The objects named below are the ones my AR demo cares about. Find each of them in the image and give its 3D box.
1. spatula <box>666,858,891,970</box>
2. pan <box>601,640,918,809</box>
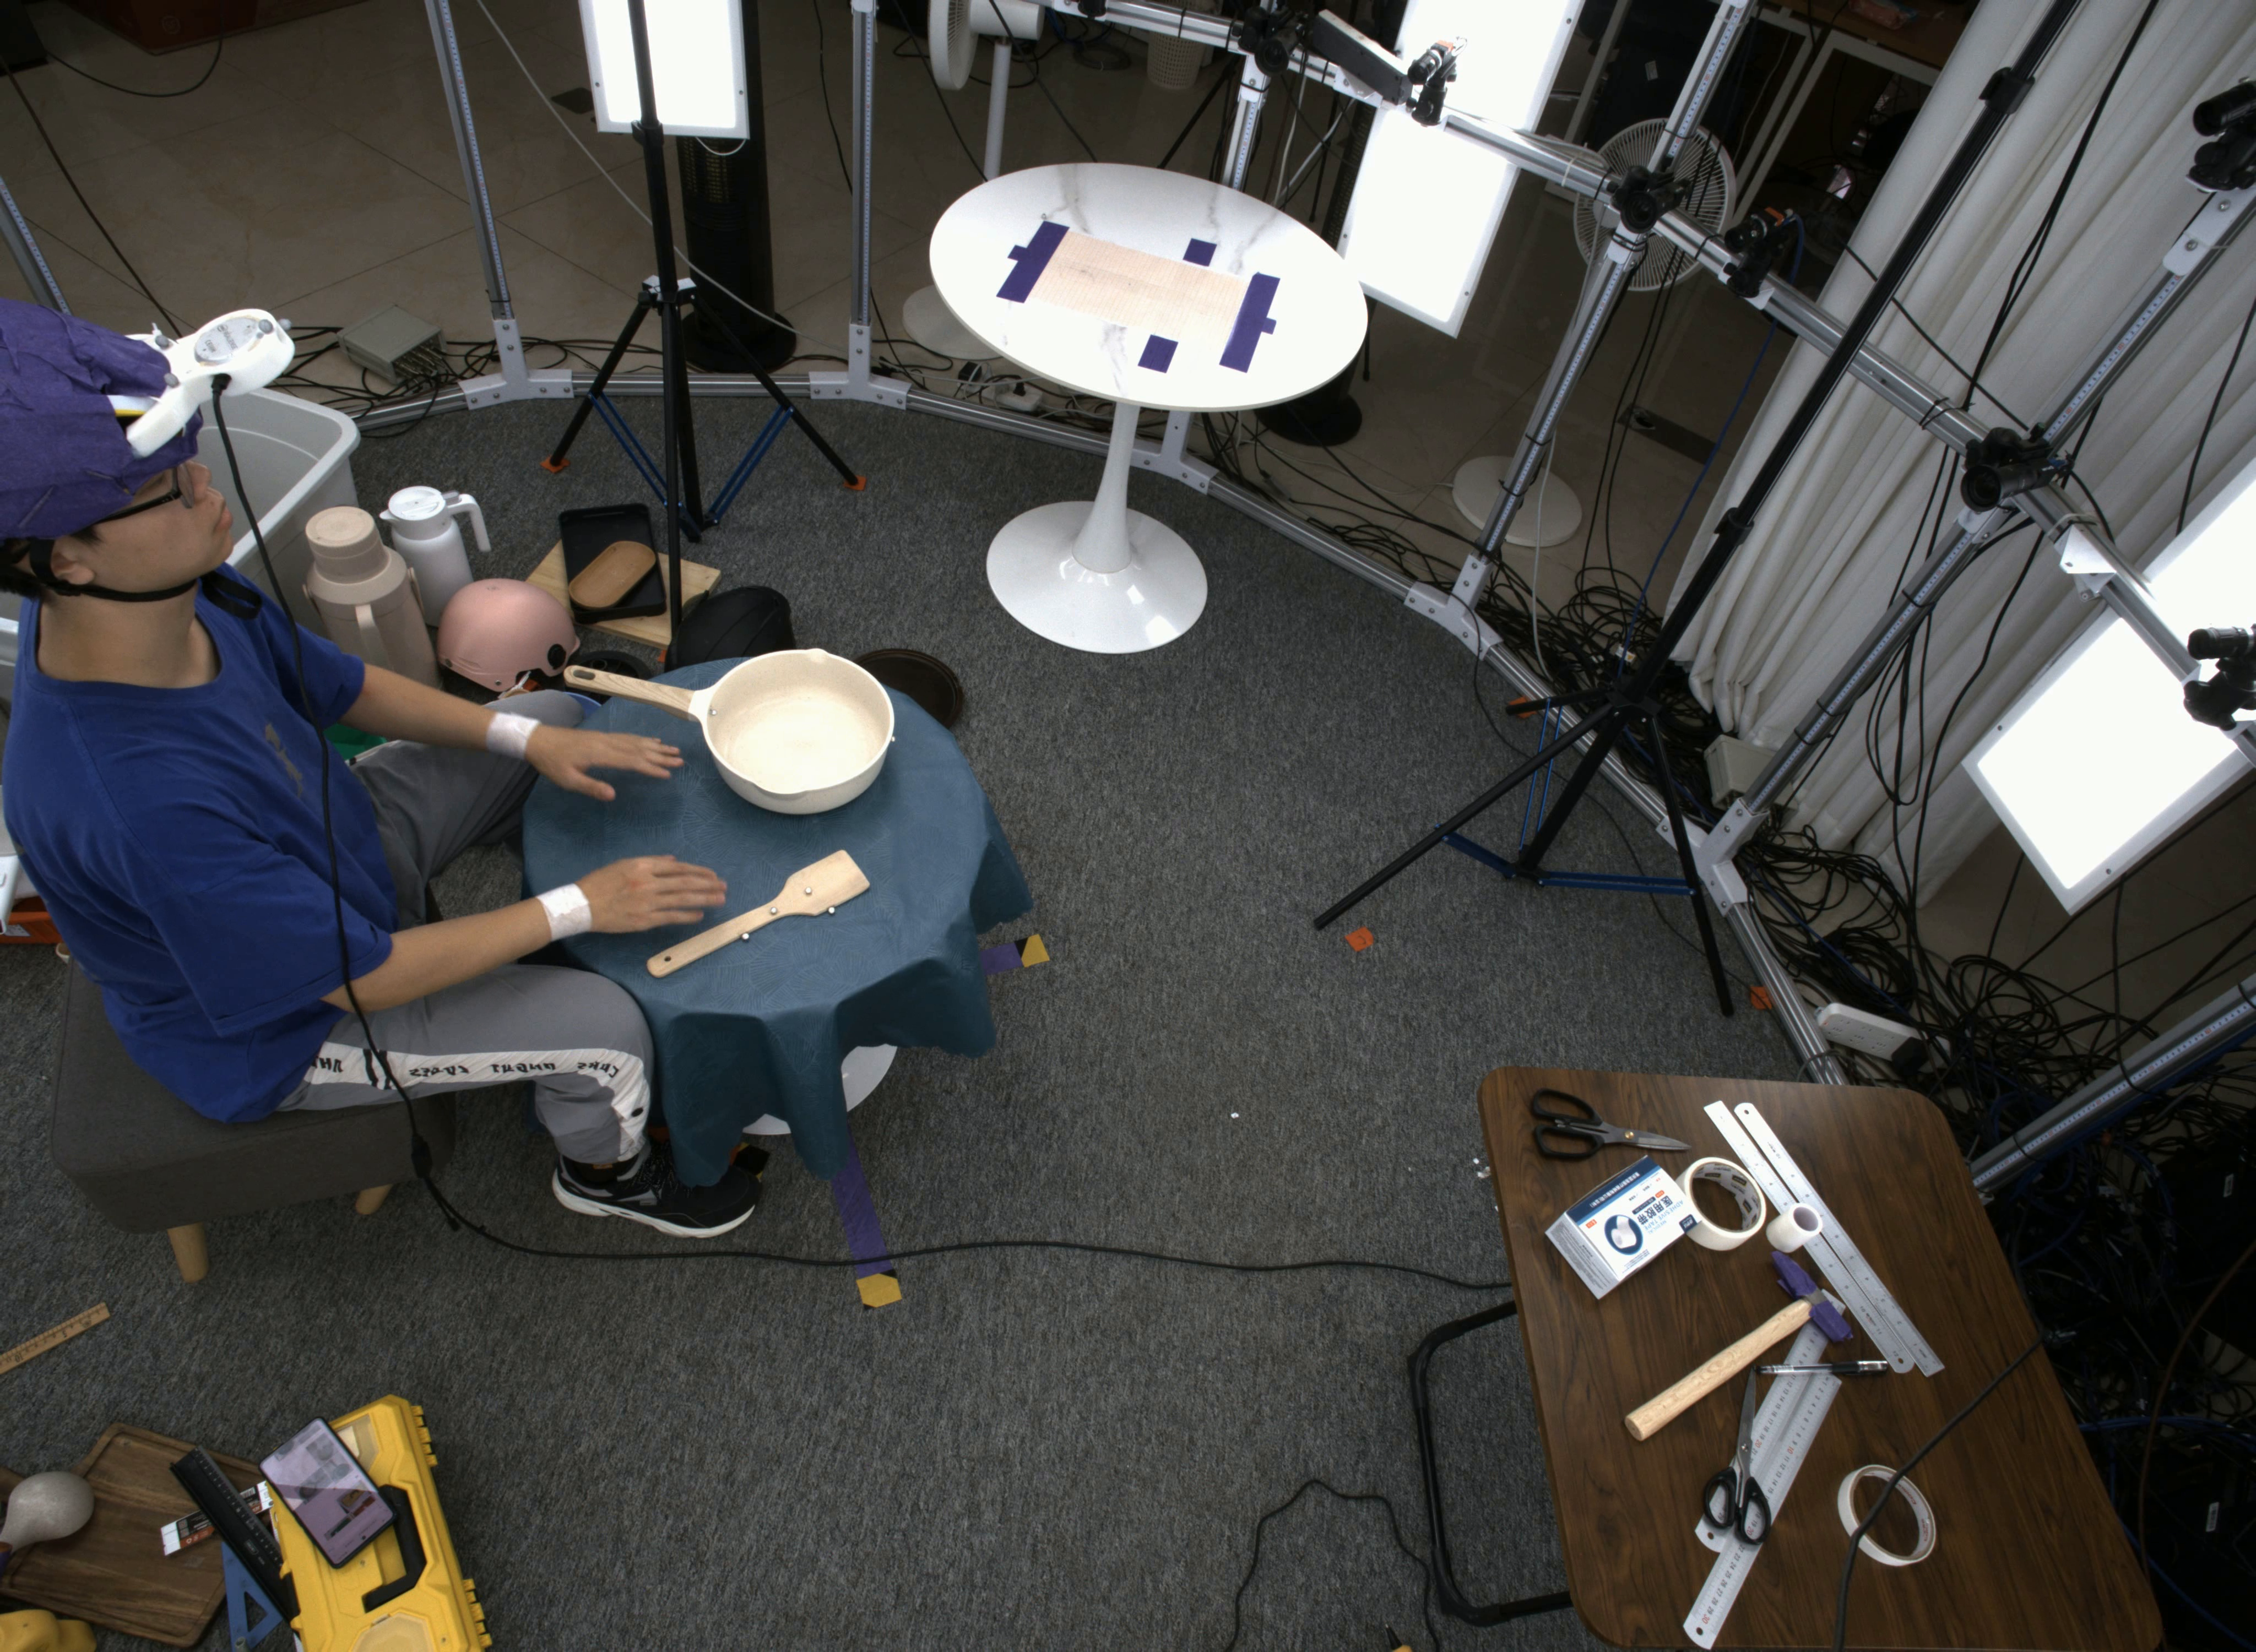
[{"bbox_3d":[-0.442,0.116,1.637,0.294,0.011,0.070,-23,64,-29],"label":"spatula"},{"bbox_3d":[-0.504,-0.149,1.761,0.433,0.104,0.259,8,55,-8],"label":"pan"}]
